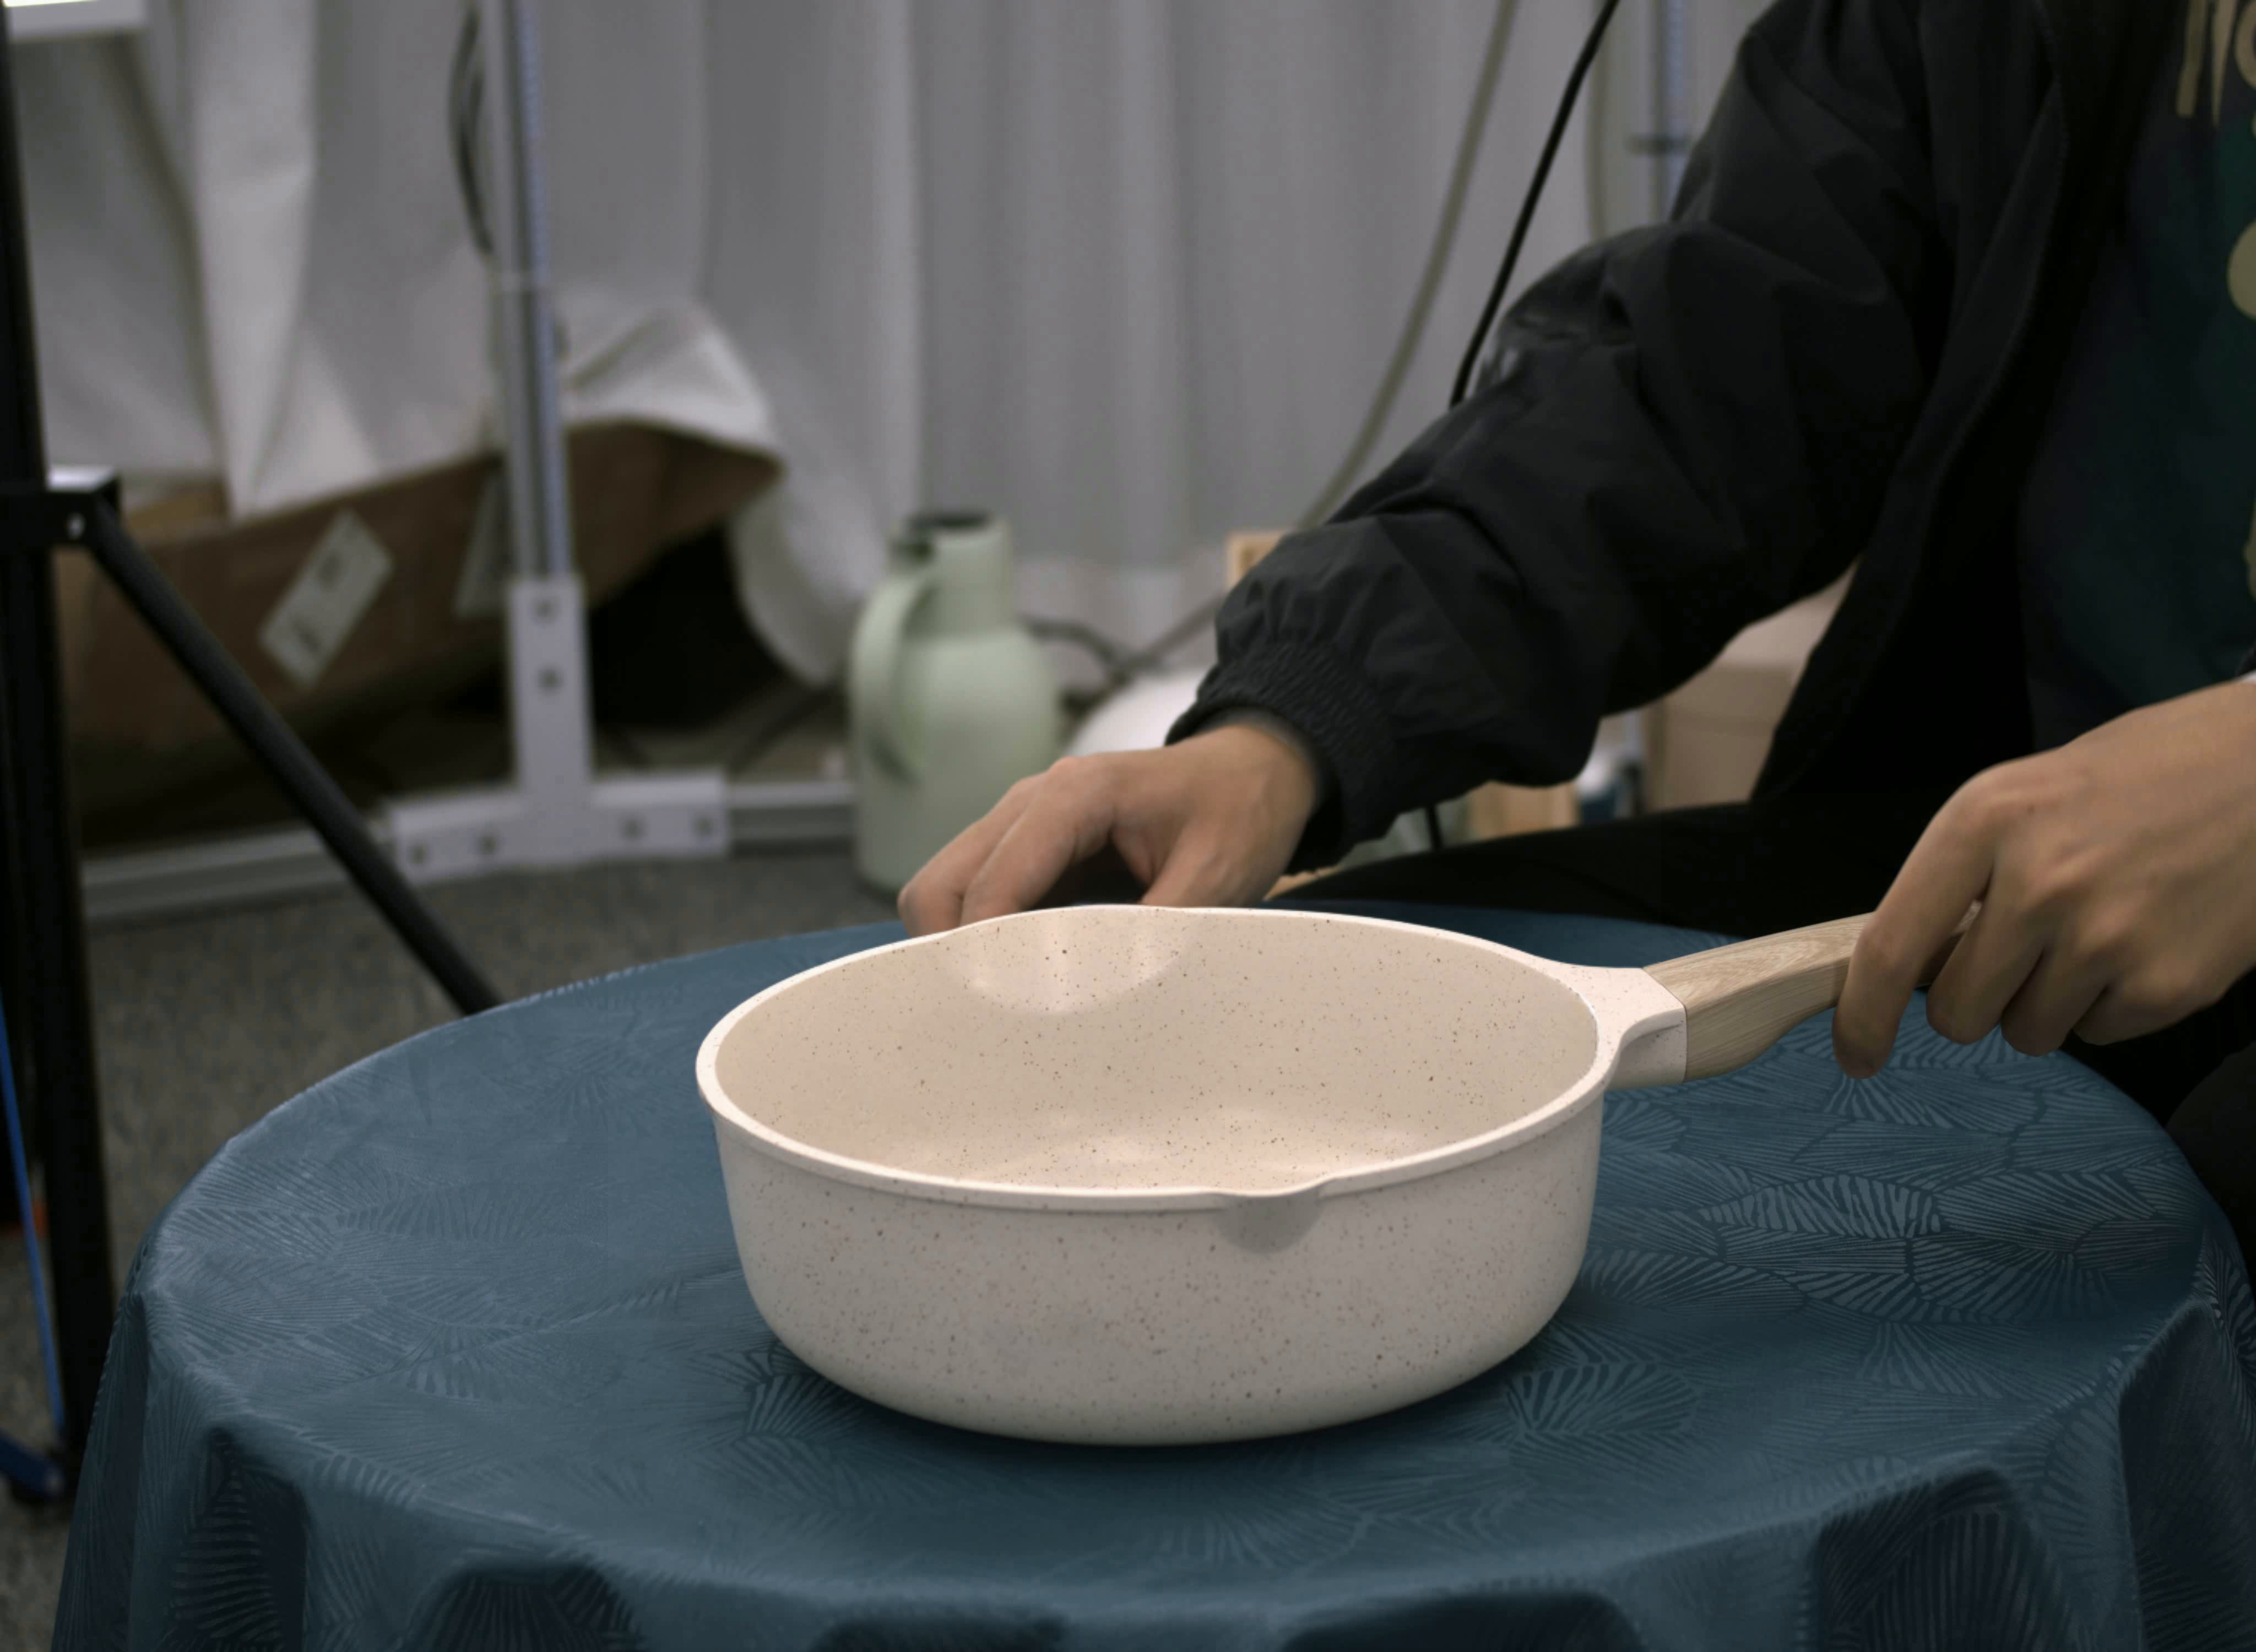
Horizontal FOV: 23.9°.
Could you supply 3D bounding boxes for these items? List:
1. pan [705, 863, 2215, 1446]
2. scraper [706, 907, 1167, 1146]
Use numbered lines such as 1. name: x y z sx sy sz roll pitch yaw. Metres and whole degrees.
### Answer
1. pan: 0.100 0.082 1.458 0.429 0.102 0.267 -5 14 -11
2. scraper: -0.048 0.065 1.676 0.077 0.011 0.208 8 25 30
